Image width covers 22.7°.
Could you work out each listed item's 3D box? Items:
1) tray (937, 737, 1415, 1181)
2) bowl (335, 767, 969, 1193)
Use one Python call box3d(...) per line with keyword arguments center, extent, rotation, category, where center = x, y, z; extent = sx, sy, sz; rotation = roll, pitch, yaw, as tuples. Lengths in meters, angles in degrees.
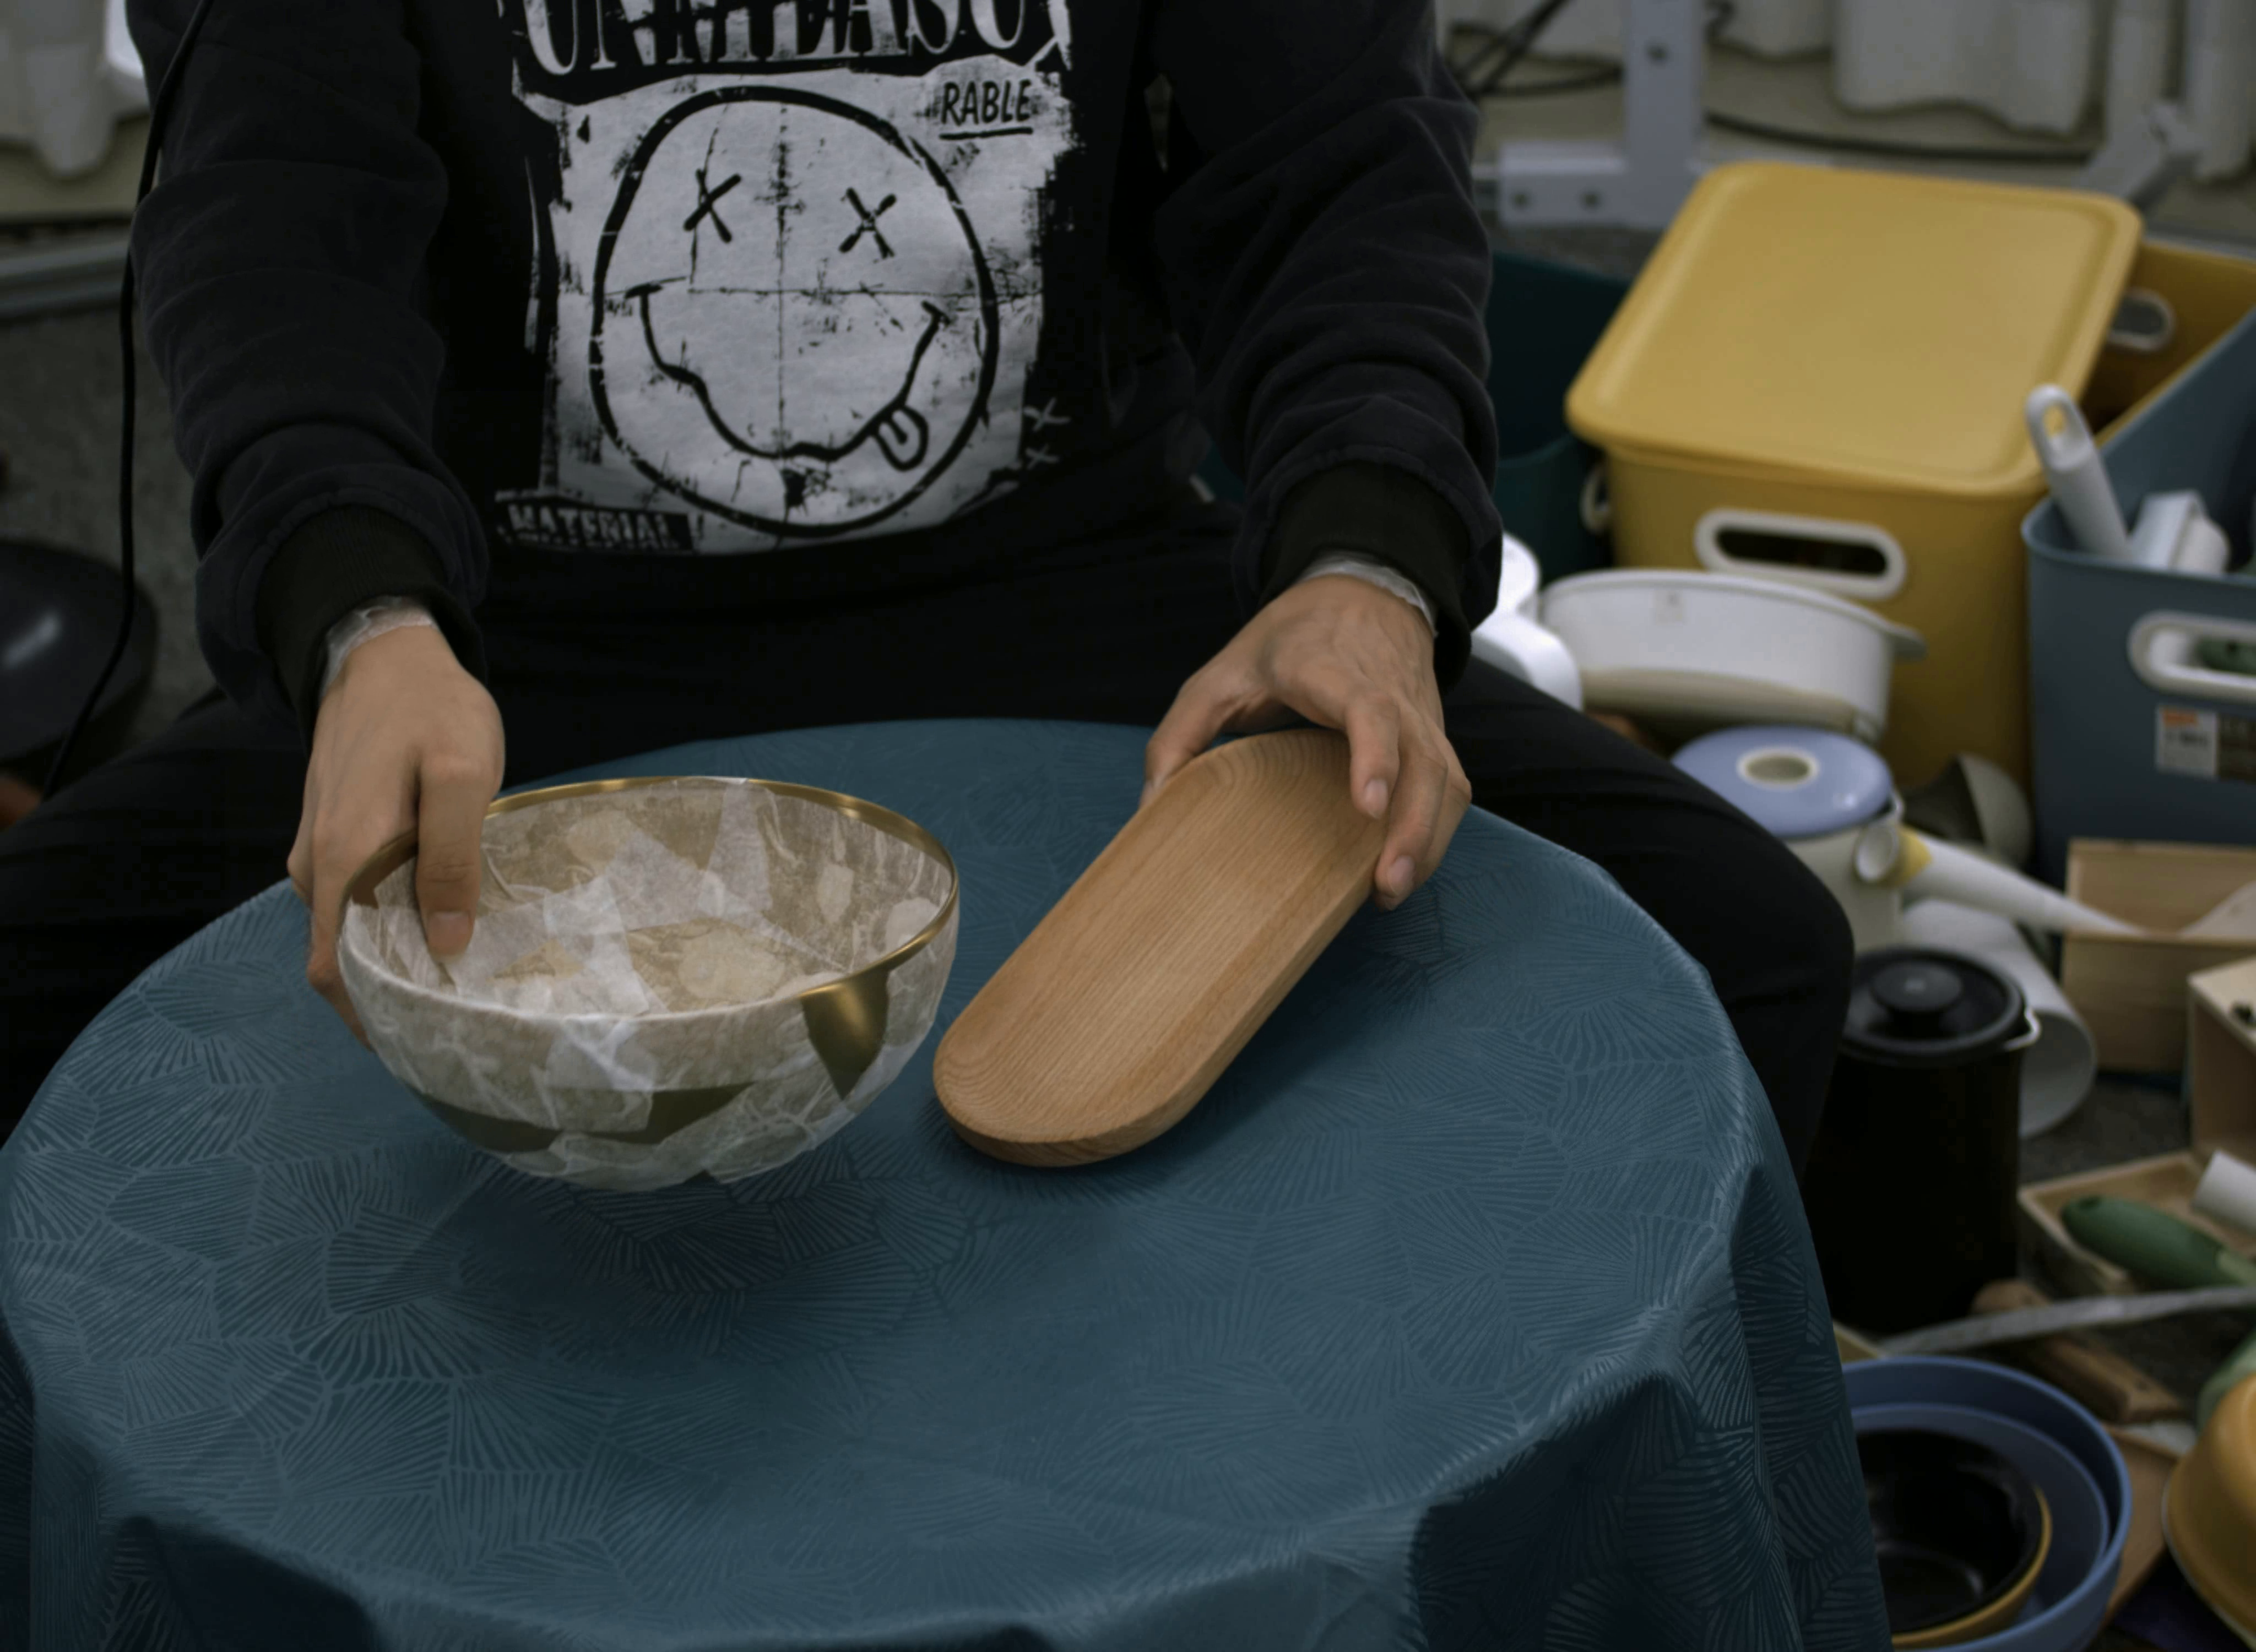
box3d(center=(0.019, 0.044, 1.943), extent=(0.101, 0.020, 0.235), rotation=(8, 43, 33), category="tray")
box3d(center=(-0.149, 0.060, 1.818), extent=(0.213, 0.094, 0.217), rotation=(-2, 22, 1), category="bowl")
